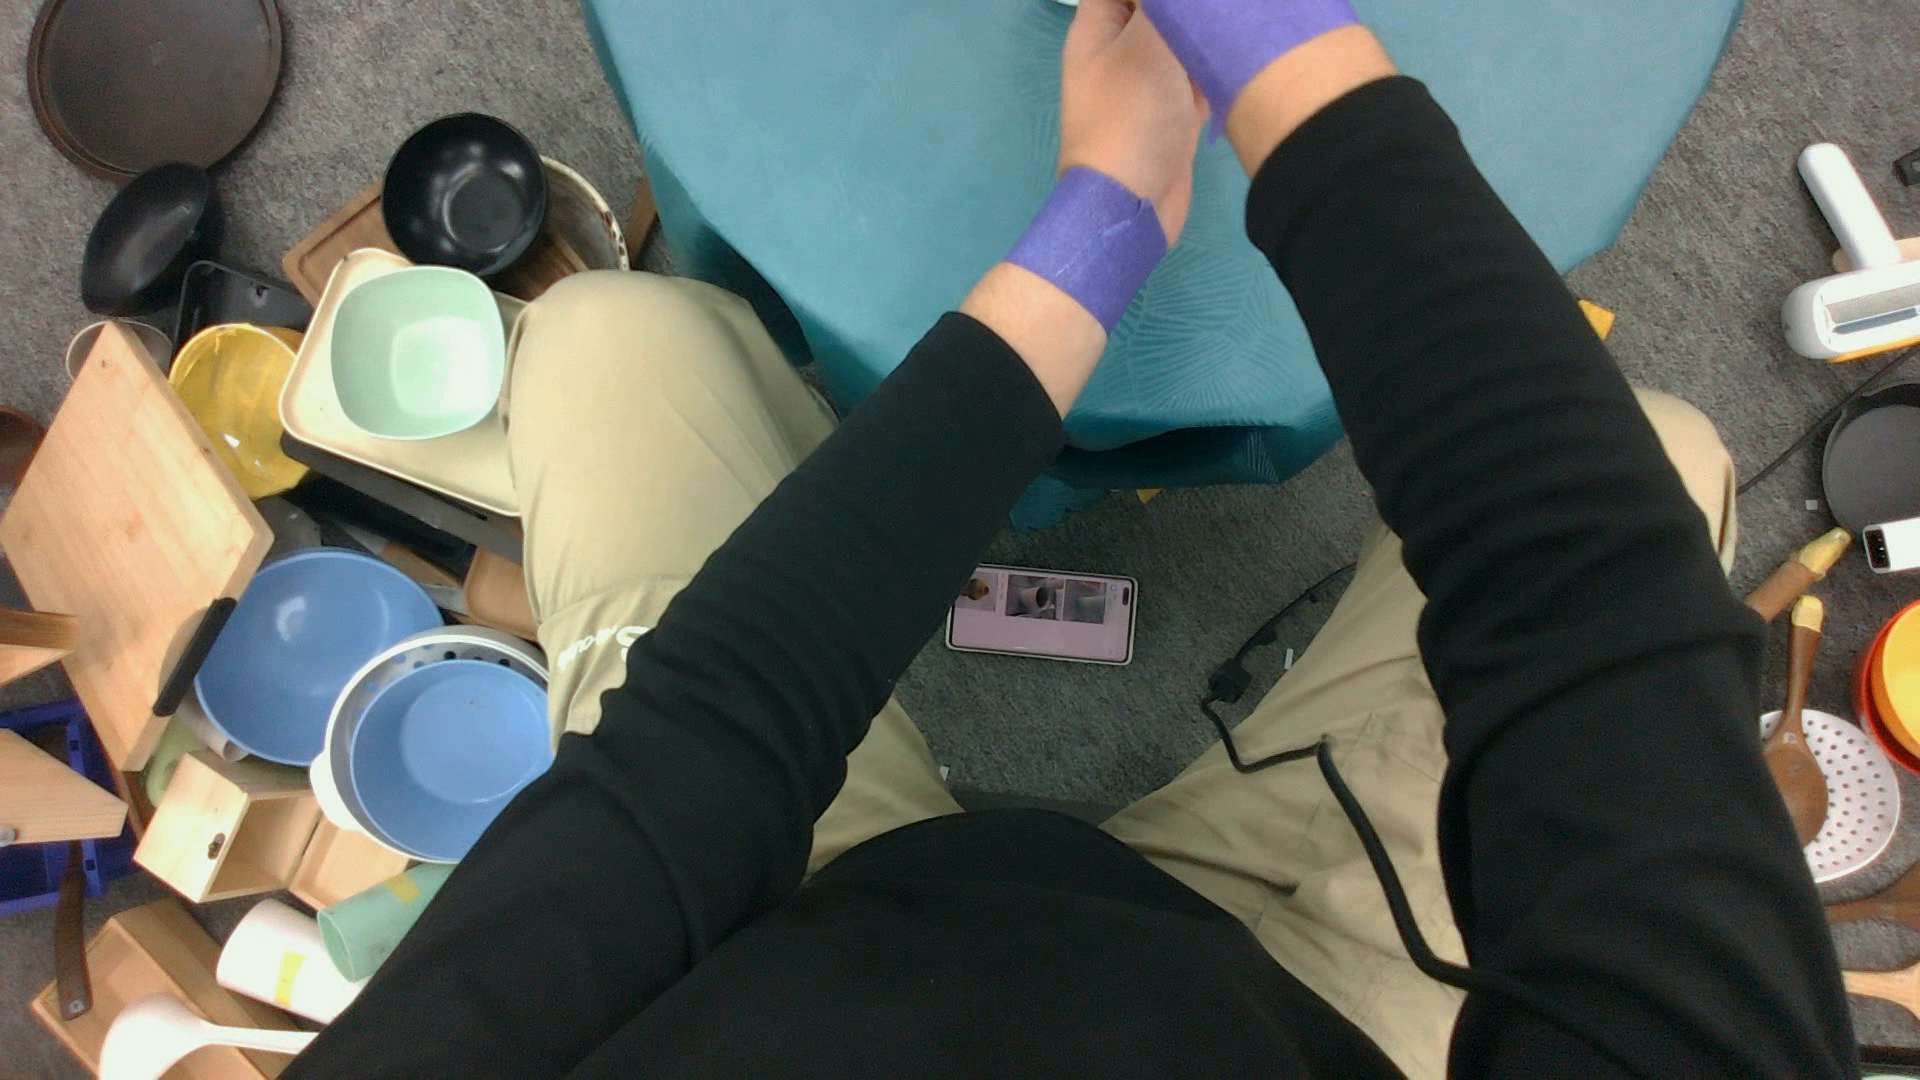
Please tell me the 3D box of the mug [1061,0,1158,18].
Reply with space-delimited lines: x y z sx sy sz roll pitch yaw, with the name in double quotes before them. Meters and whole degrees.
"mug" 0.060 -0.301 0.648 0.085 0.102 0.118 -29 86 1
